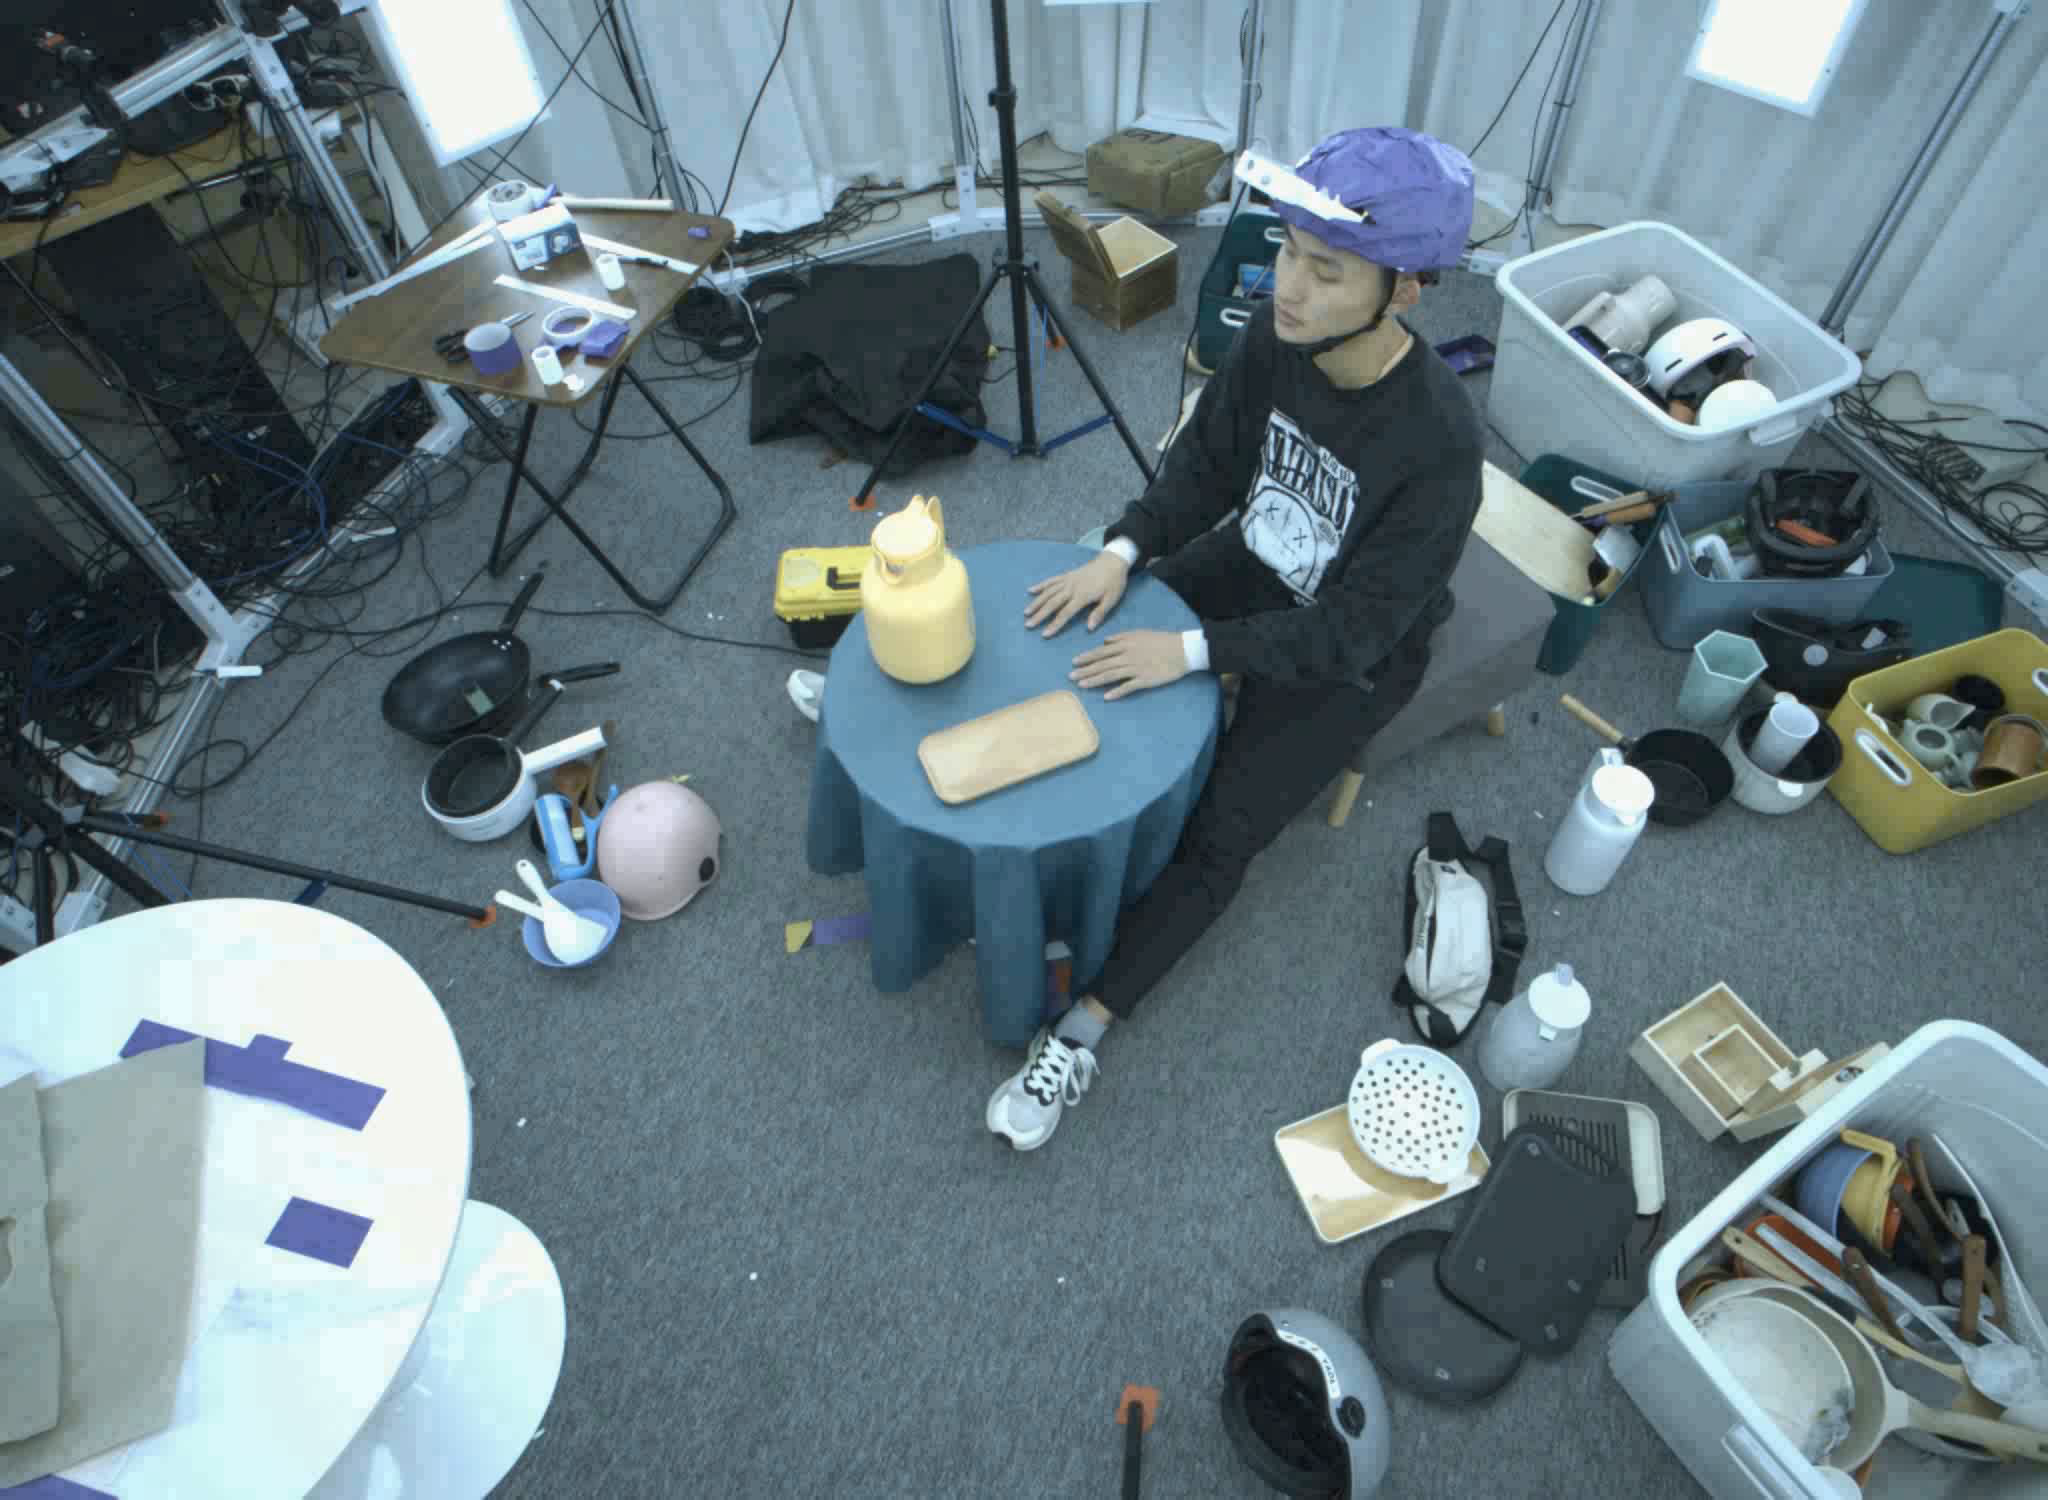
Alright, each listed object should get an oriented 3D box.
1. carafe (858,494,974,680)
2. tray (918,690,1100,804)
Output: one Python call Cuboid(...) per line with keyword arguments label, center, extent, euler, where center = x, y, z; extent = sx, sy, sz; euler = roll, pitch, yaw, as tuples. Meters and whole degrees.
Cuboid(label="carafe", center=(-0.155, -0.247, 1.801), extent=(0.162, 0.263, 0.201), euler=(13, 58, 9))
Cuboid(label="tray", center=(-0.022, -0.005, 1.777), extent=(0.252, 0.023, 0.128), euler=(-19, 58, -12))
